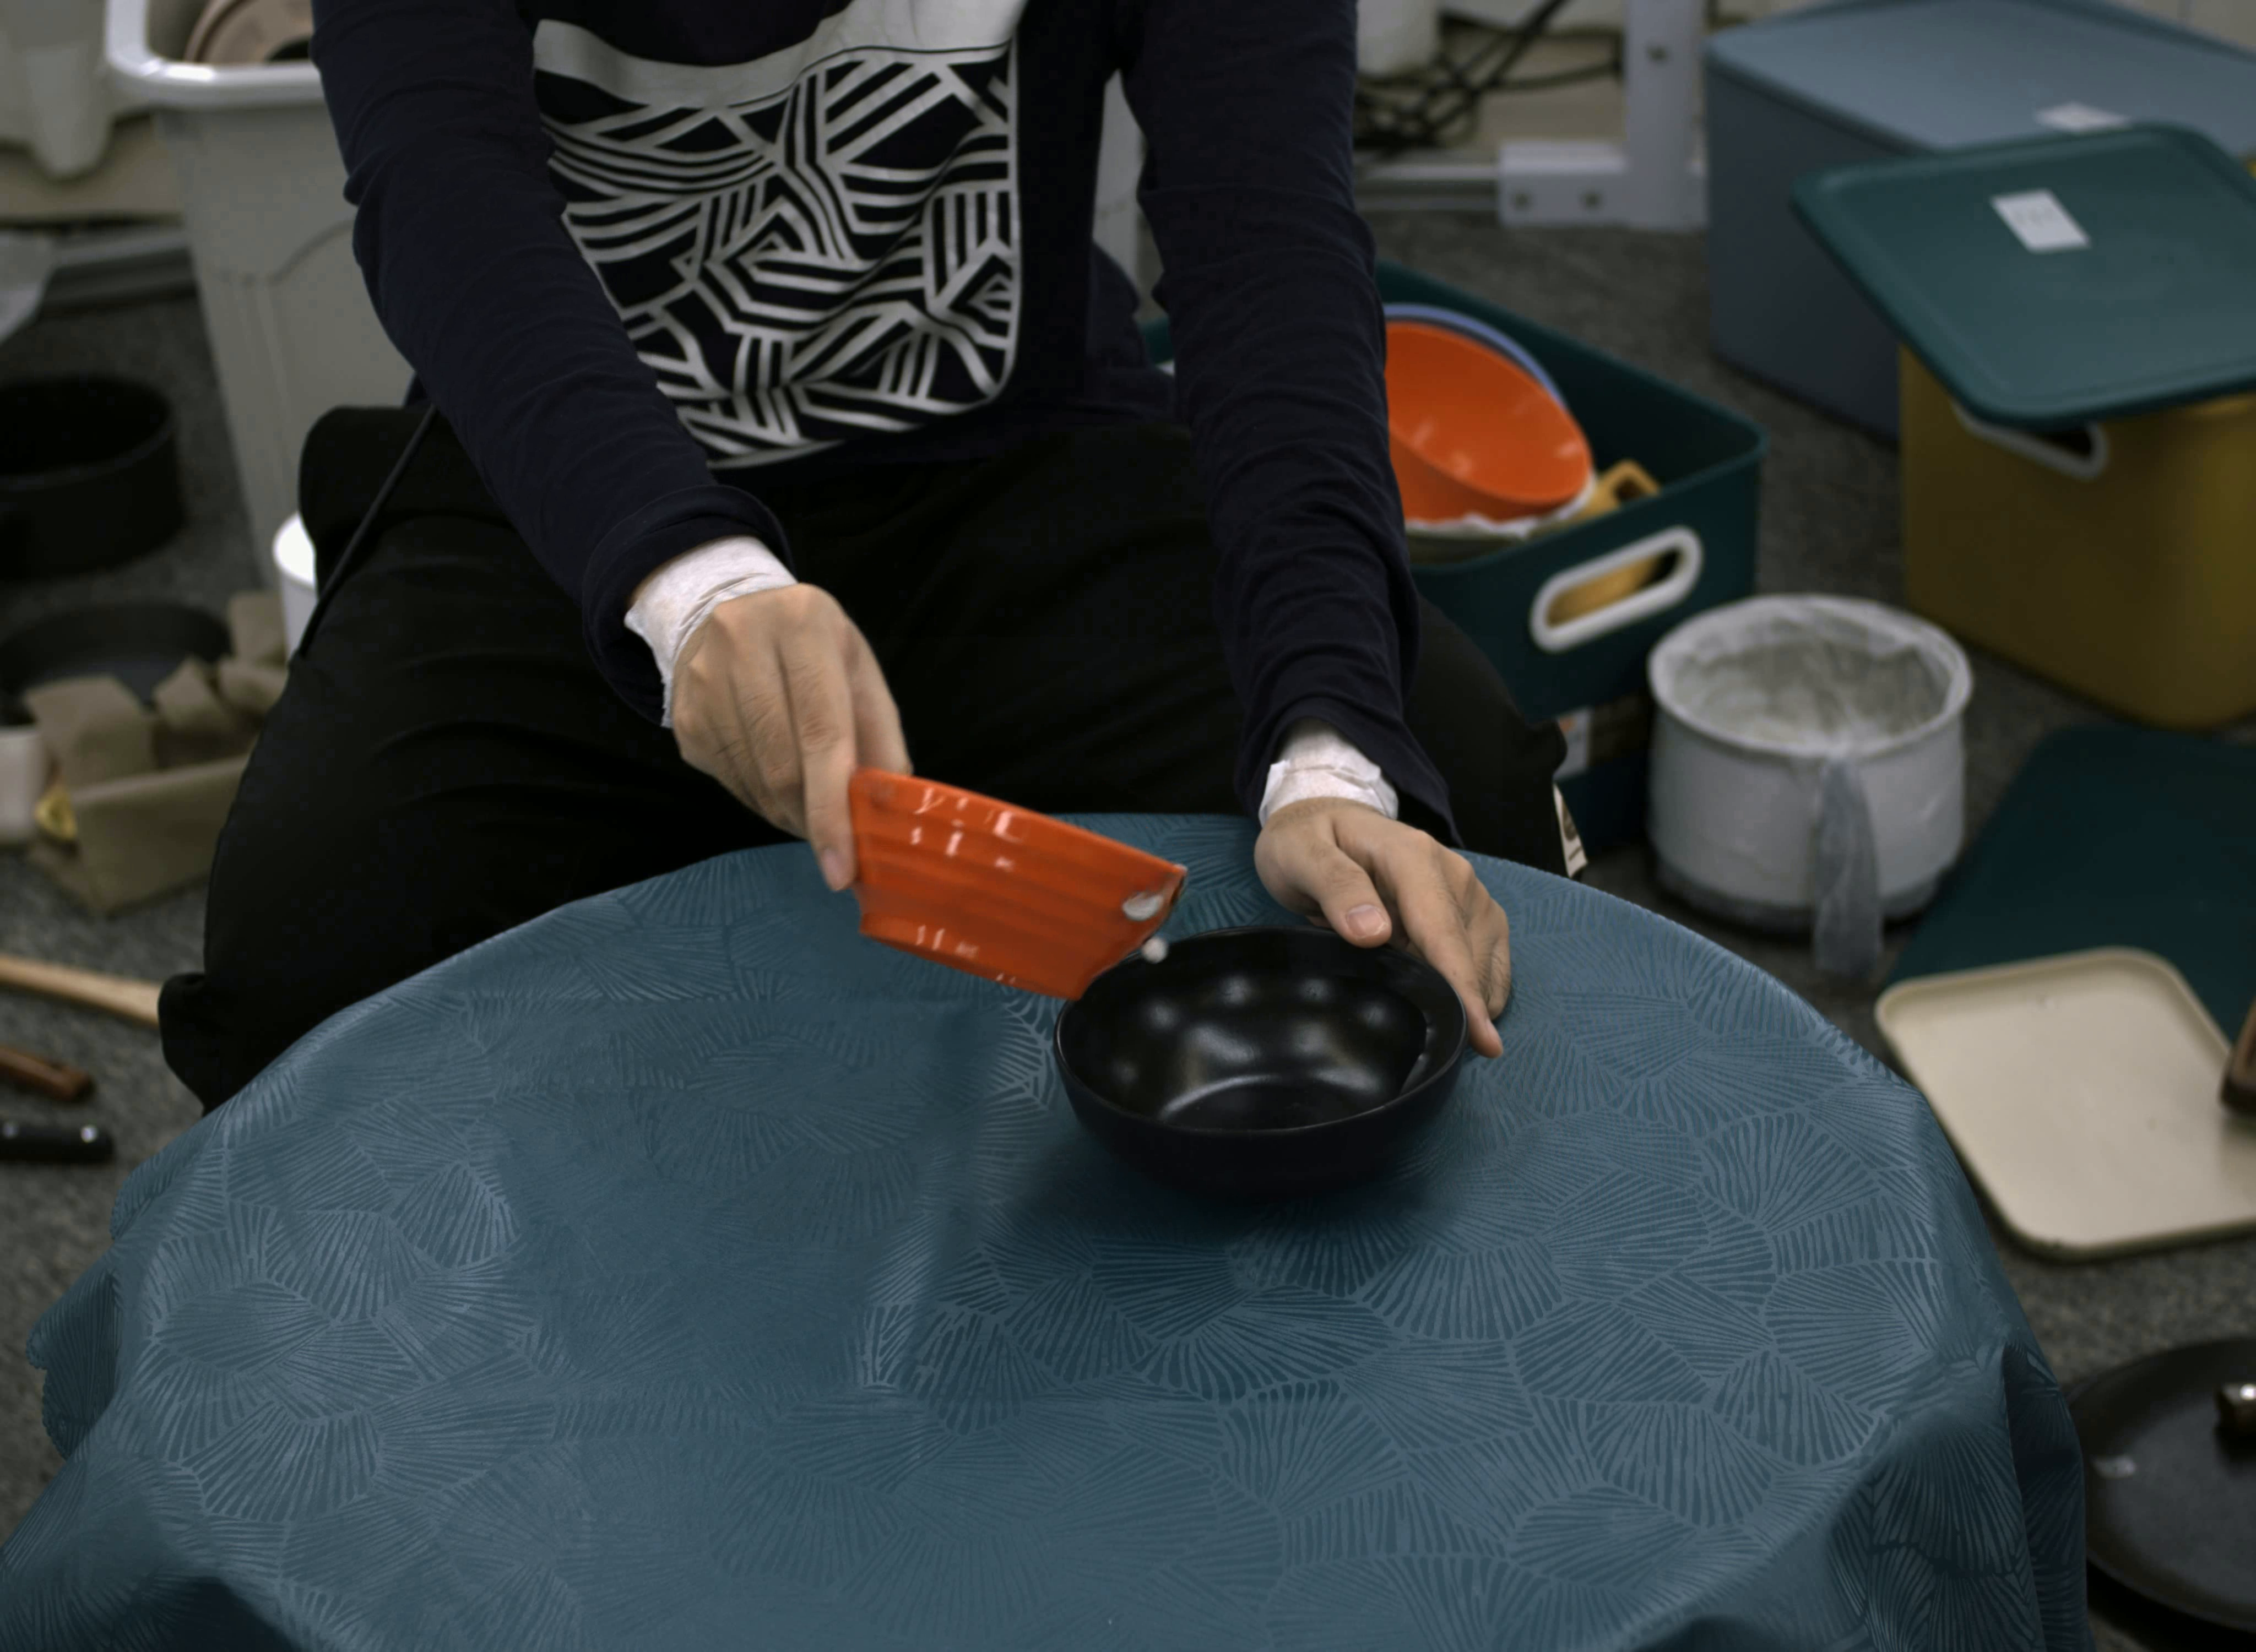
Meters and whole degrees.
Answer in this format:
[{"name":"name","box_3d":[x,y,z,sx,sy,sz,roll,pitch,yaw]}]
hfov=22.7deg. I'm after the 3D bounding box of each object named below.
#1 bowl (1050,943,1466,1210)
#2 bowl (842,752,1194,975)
[{"name":"bowl","box_3d":[0.044,0.090,1.872,0.139,0.049,0.142,-3,23,2]},{"name":"bowl","box_3d":[-0.040,0.014,1.797,0.118,0.051,0.119,14,0,1]}]
